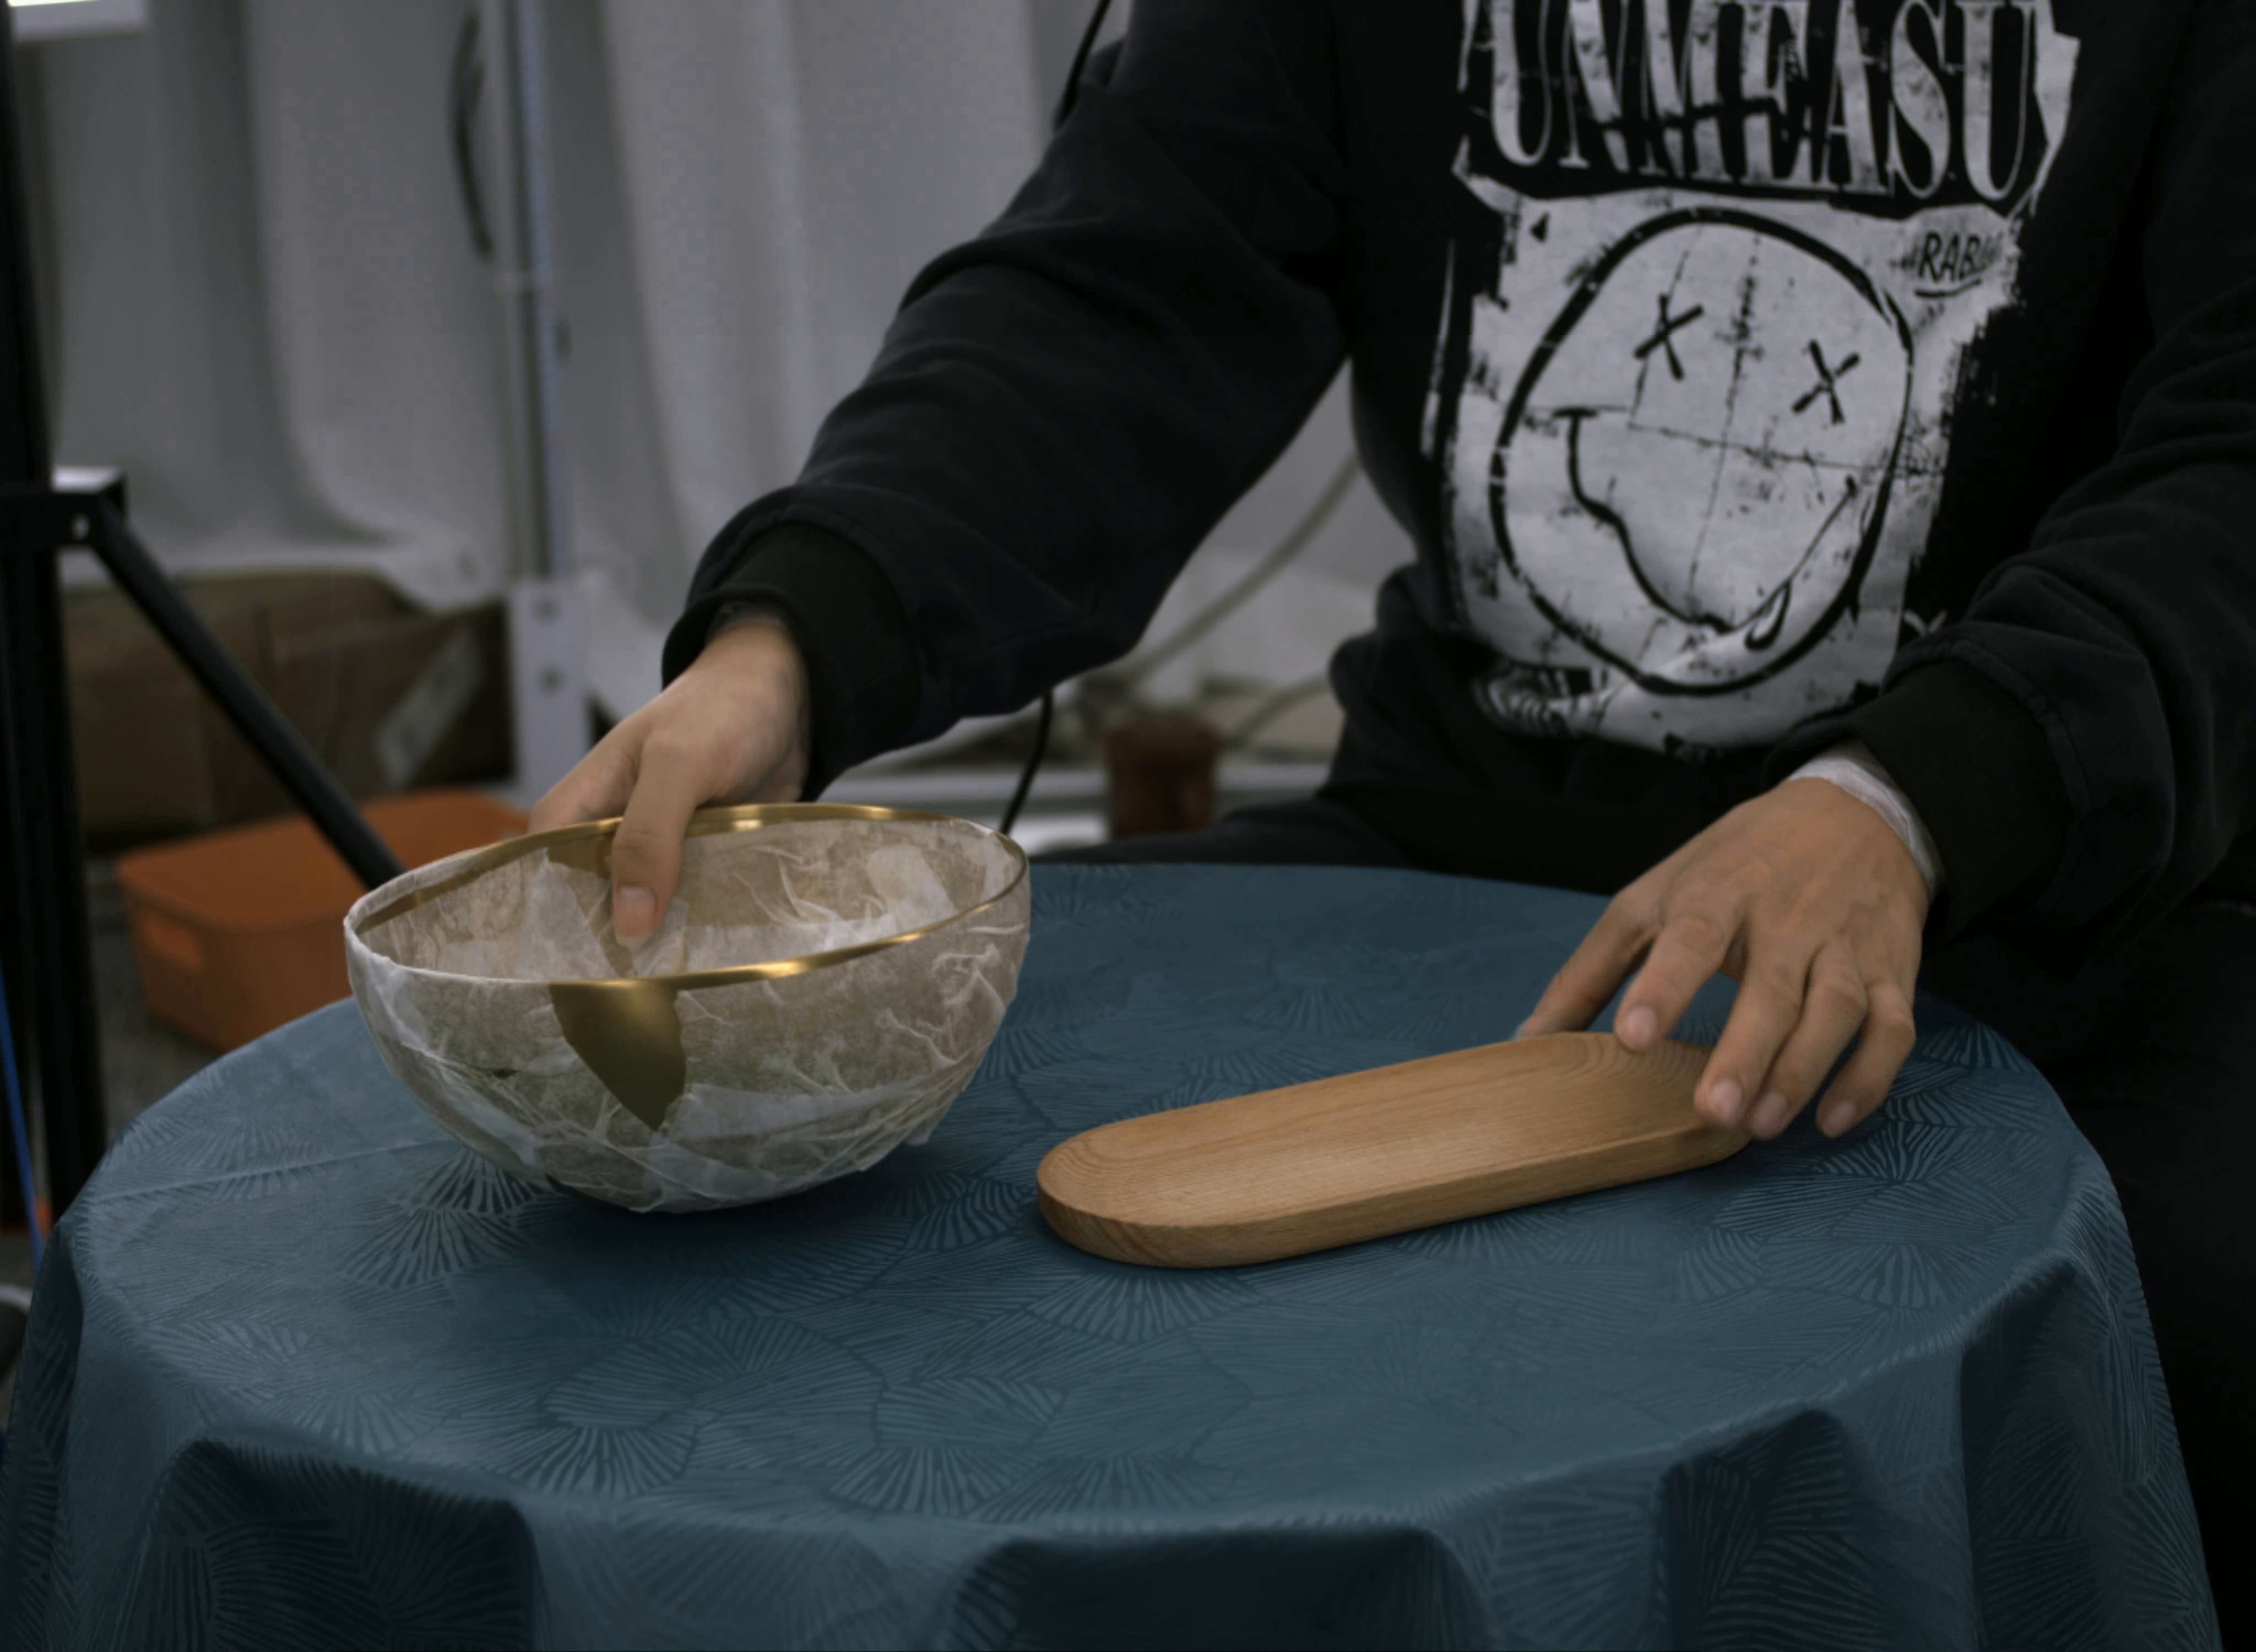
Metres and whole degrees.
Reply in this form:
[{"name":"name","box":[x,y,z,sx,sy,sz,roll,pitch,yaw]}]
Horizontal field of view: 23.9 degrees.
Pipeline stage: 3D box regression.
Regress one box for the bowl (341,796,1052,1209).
[{"name":"bowl","box":[-0.121,0.060,1.573,0.214,0.094,0.215,-6,12,0]}]

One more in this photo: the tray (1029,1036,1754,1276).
[{"name":"tray","box":[0.079,0.097,1.558,0.226,0.020,0.104,-12,16,-24]}]
